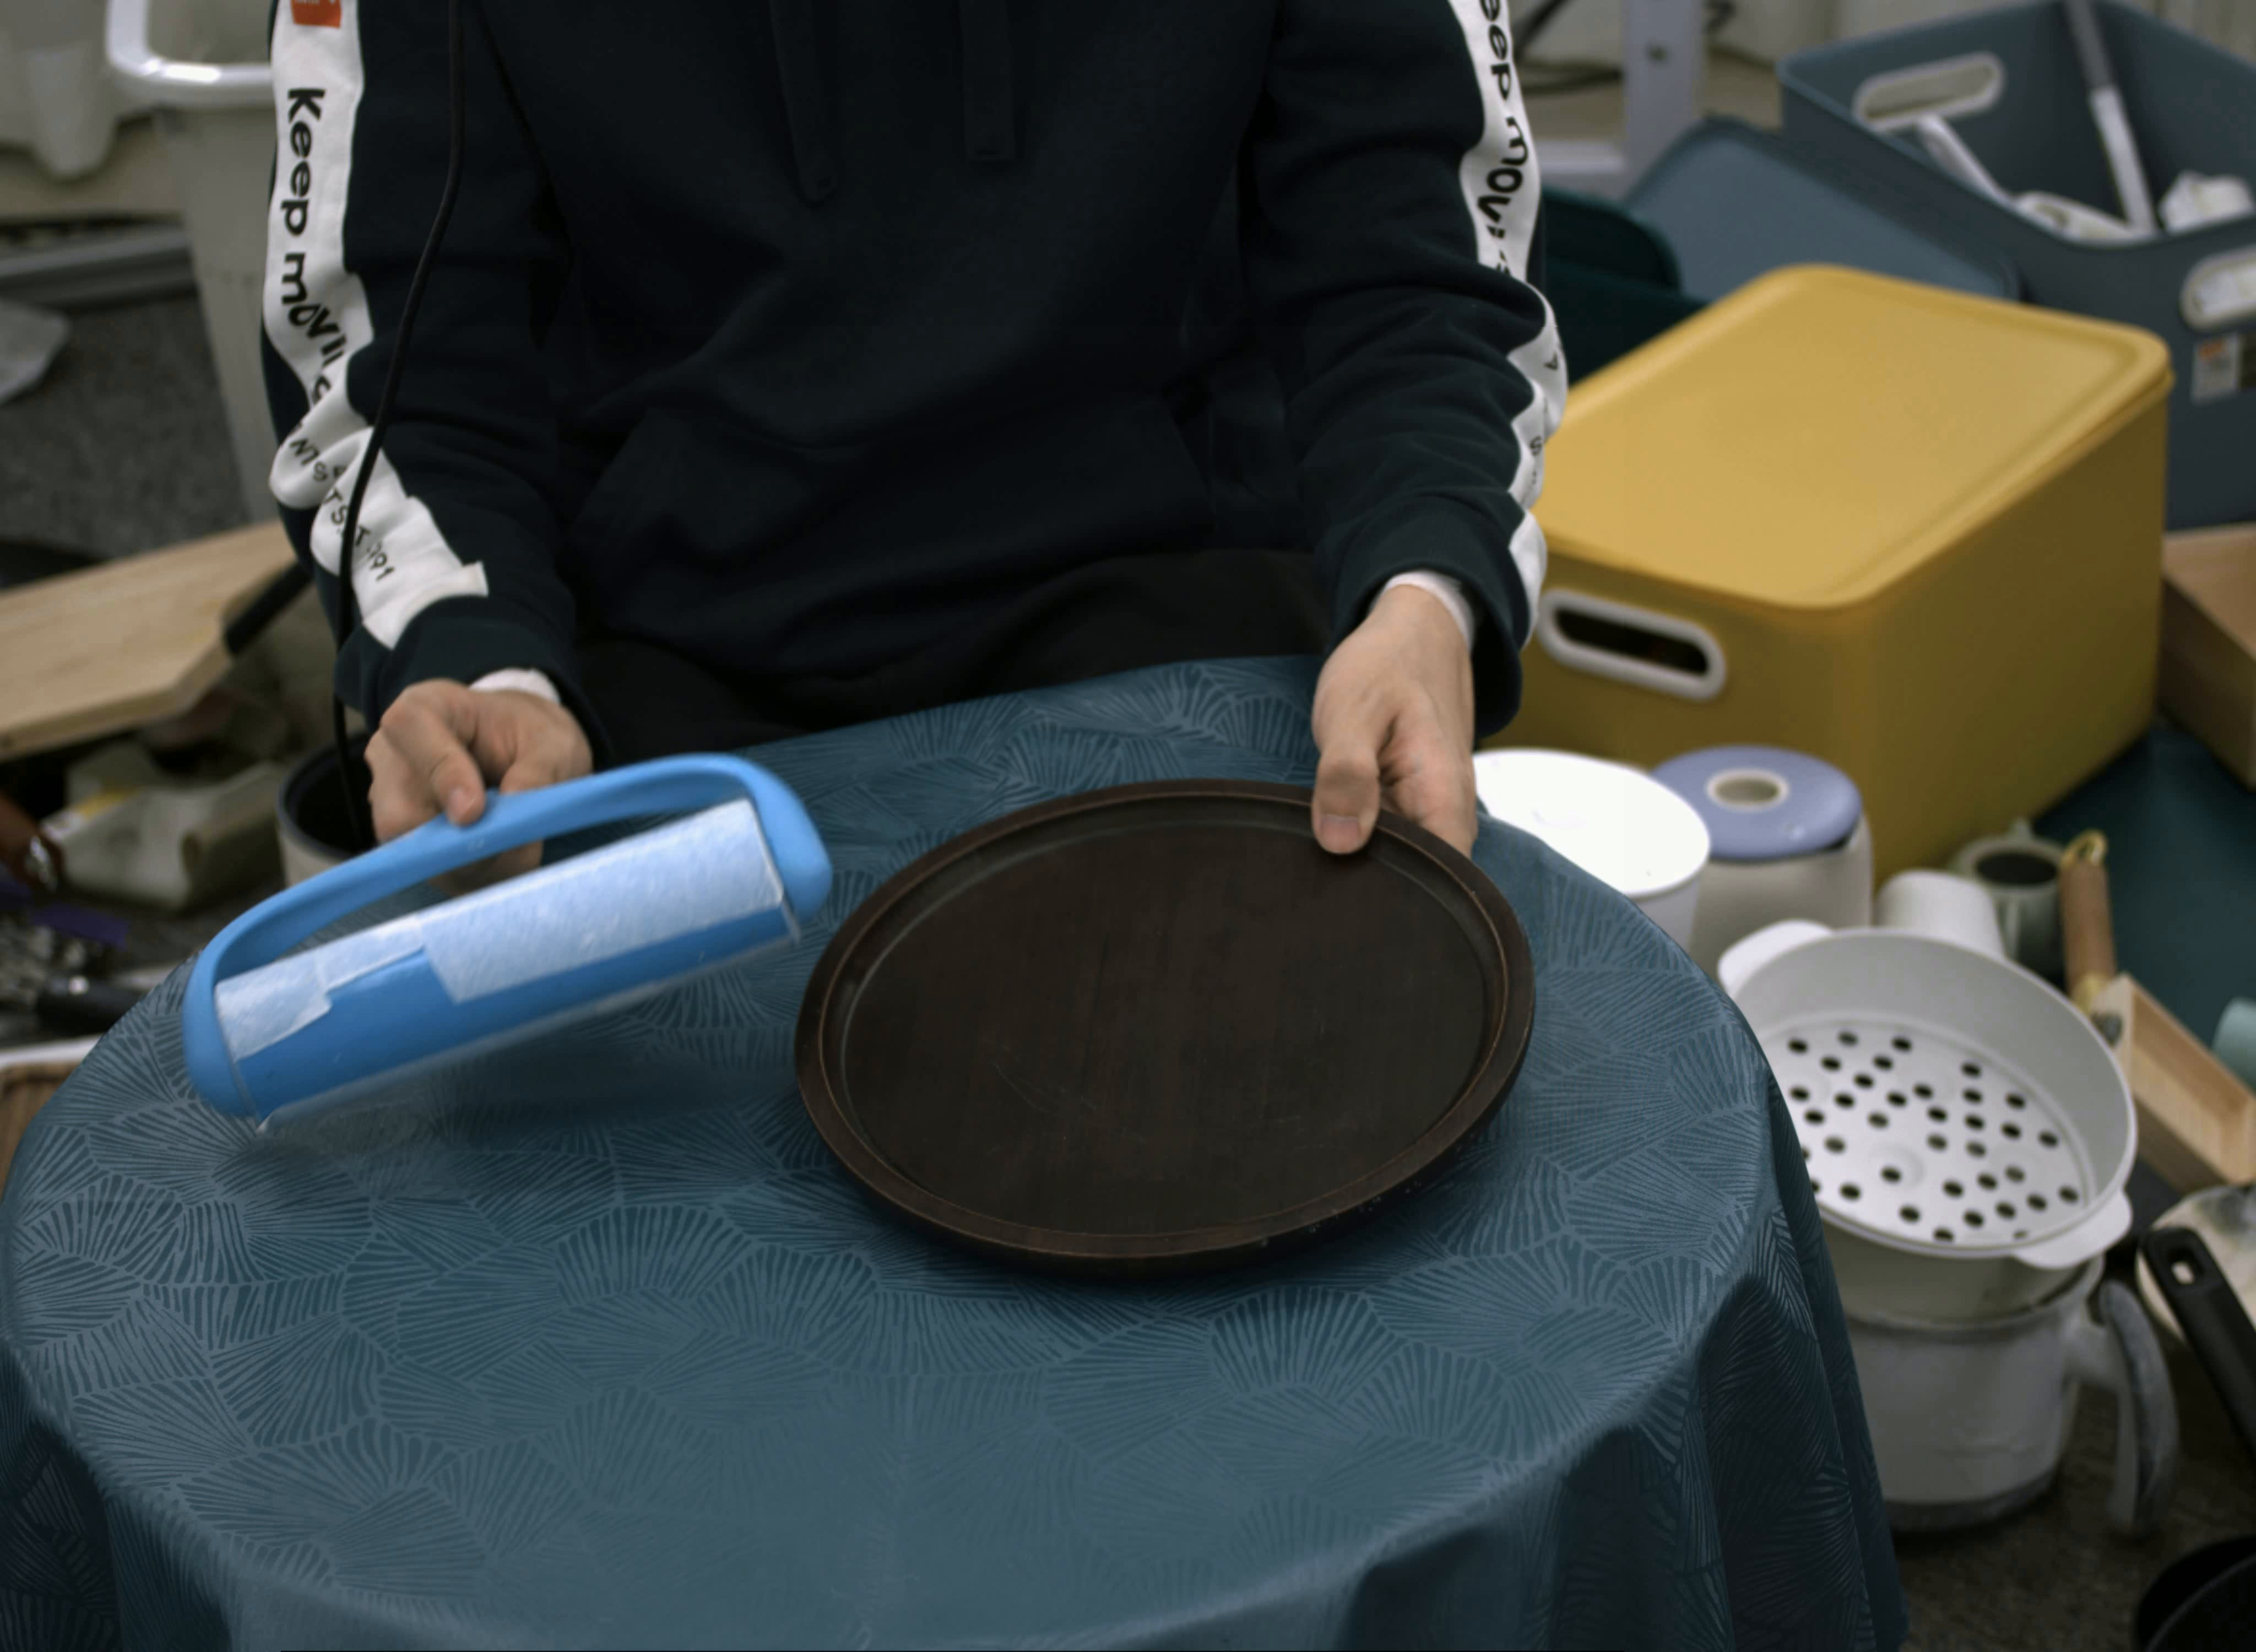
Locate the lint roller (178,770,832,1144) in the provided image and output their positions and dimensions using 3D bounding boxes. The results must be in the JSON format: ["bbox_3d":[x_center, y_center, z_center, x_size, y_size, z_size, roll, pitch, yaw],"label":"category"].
[{"bbox_3d":[-0.221,0.027,1.947,0.228,0.067,0.182,-21,25,-4],"label":"lint roller"}]

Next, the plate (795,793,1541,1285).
[{"bbox_3d":[0.013,0.070,1.896,0.253,0.028,0.259,-4,37,3],"label":"plate"}]
